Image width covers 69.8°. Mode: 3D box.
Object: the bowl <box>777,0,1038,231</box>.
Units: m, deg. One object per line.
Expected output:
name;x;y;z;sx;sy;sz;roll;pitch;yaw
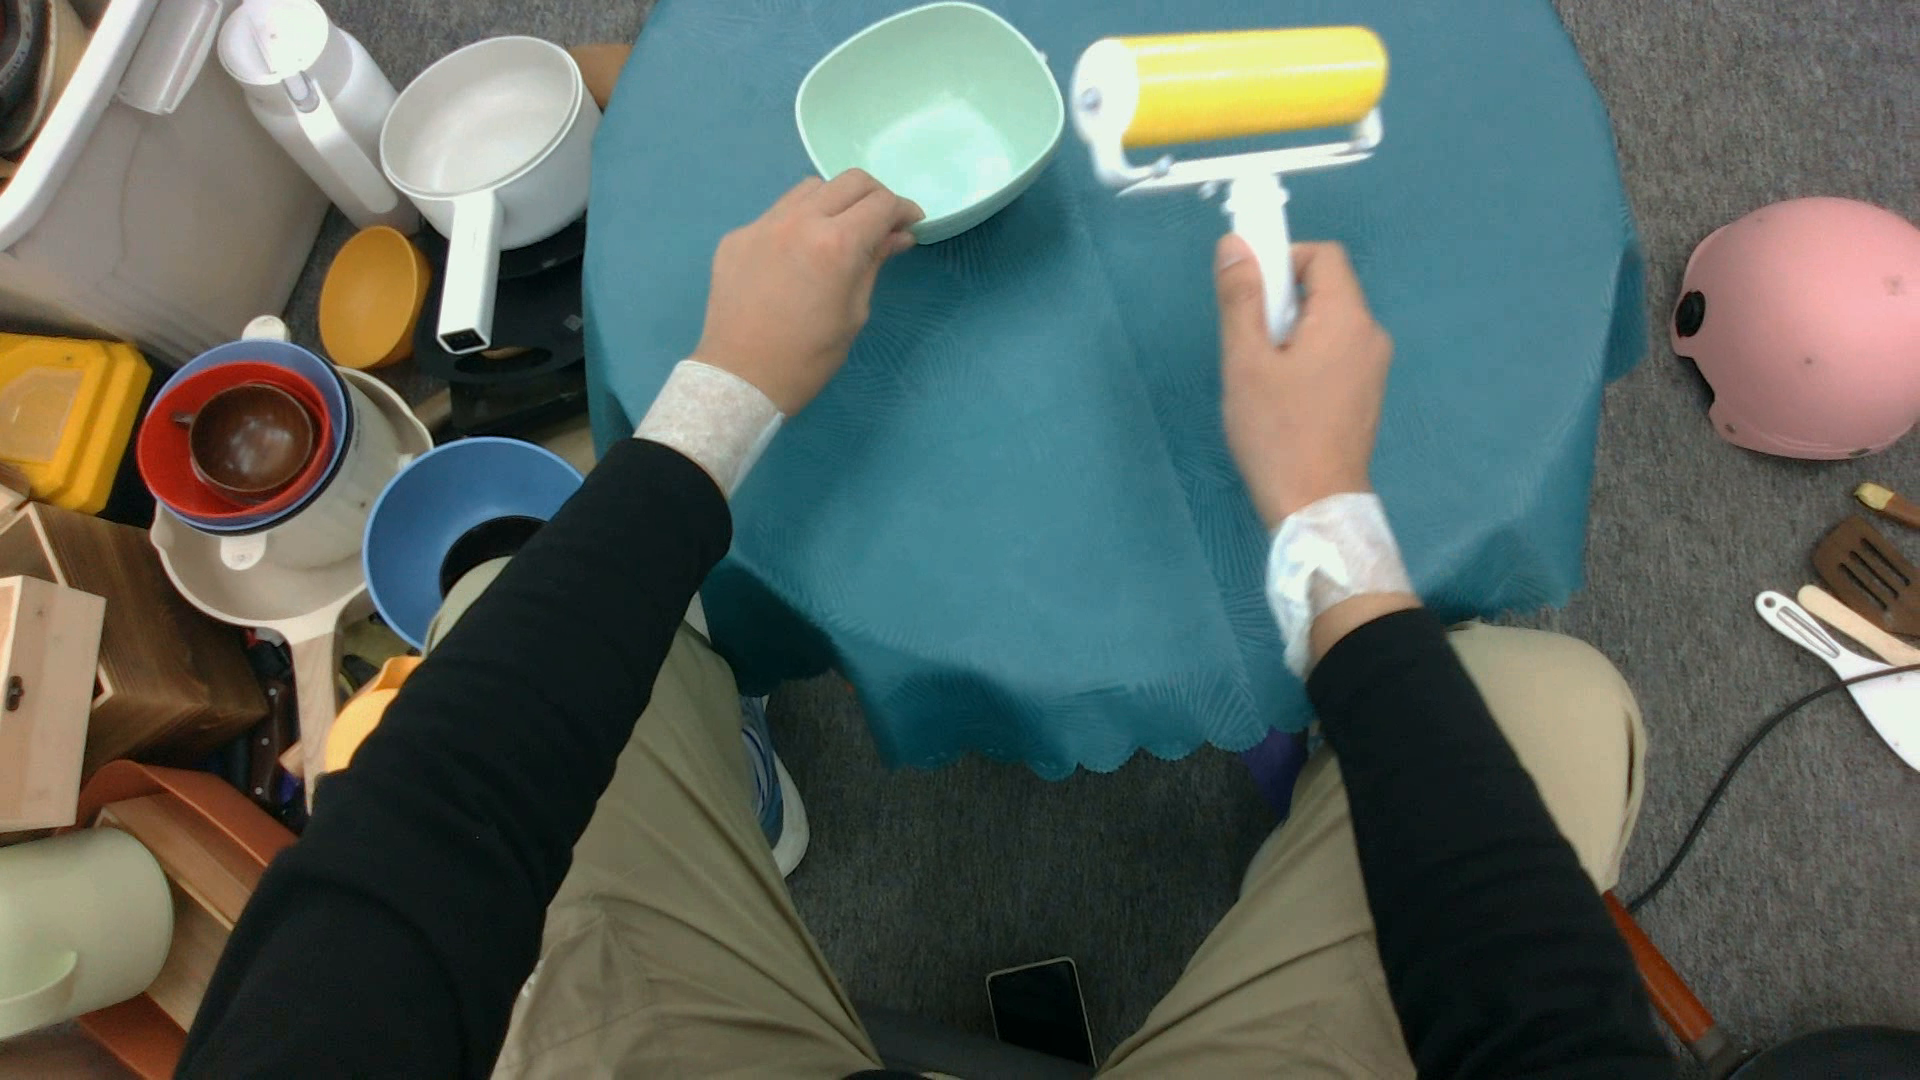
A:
bowl;-0.025;-0.231;0.778;0.151;0.058;0.152;-3;66;6

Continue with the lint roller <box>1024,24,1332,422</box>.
lint roller;0.135;-0.152;0.664;0.175;0.051;0.192;-19;84;-32
